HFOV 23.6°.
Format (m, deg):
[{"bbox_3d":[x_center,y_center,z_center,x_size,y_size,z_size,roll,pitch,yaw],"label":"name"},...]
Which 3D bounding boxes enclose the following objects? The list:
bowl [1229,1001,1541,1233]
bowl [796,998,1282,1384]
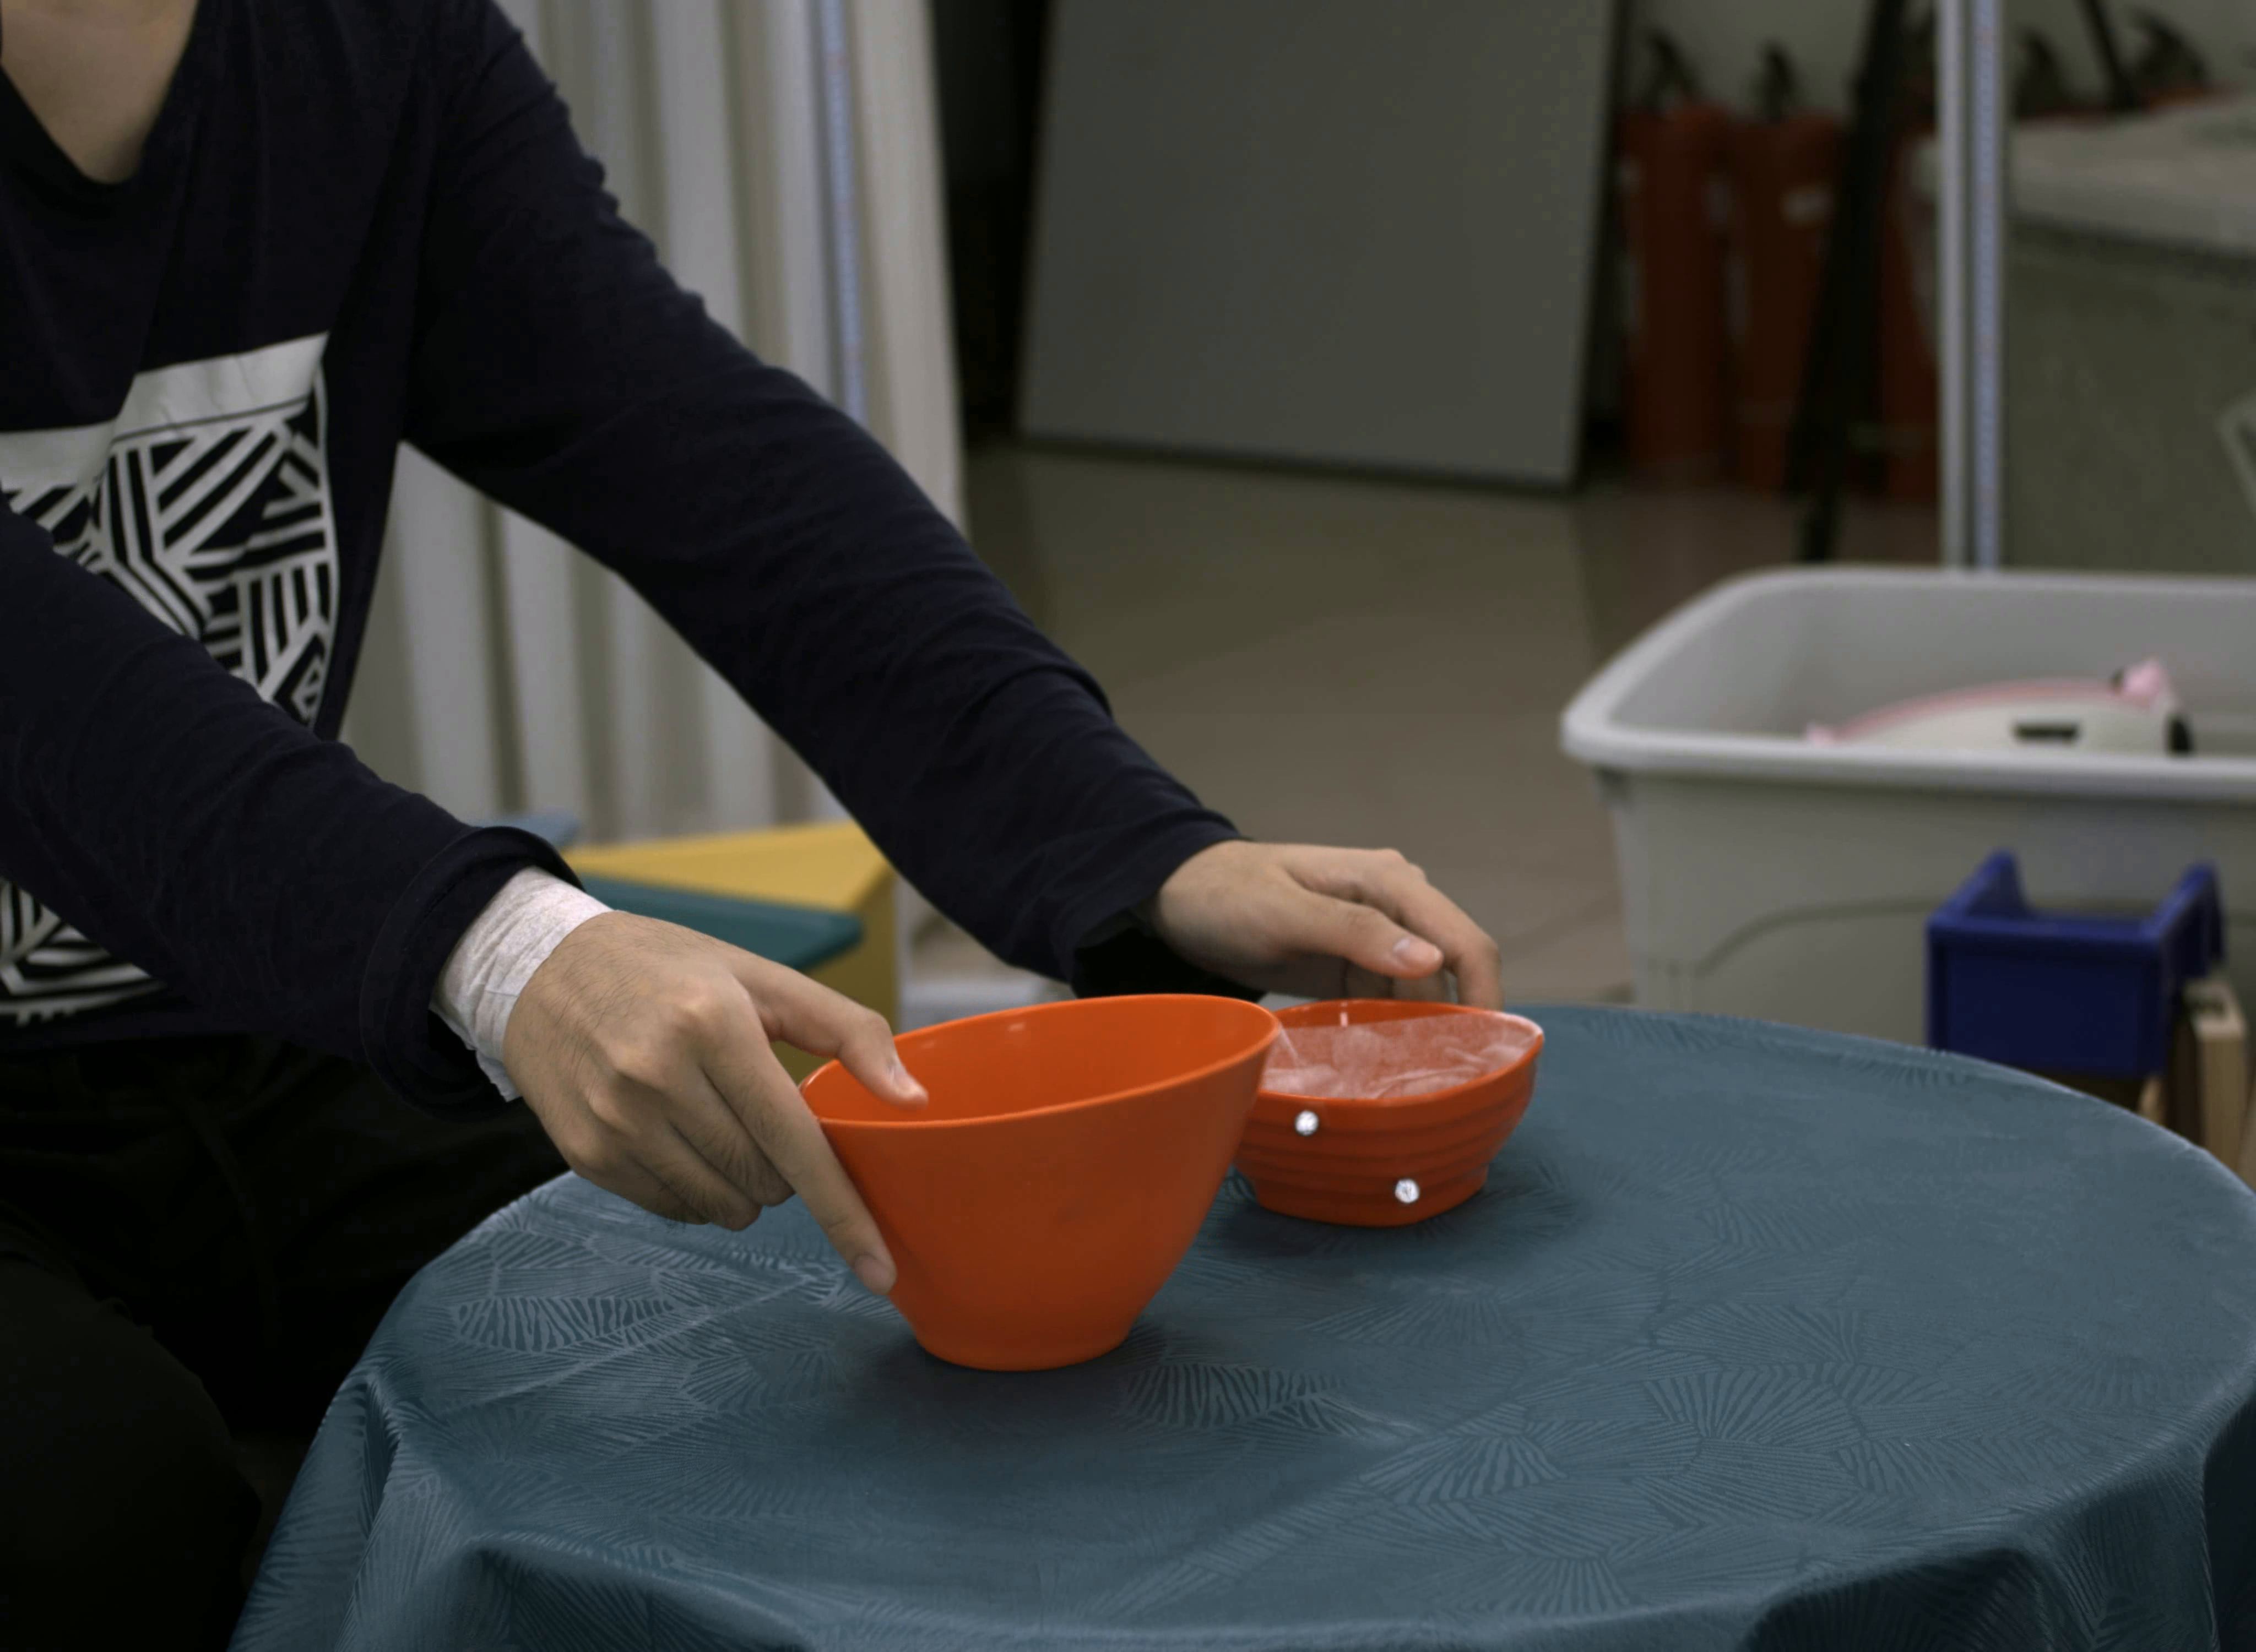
[{"bbox_3d":[0.078,0.096,1.750,0.117,0.052,0.119,-6,14,1],"label":"bowl"},{"bbox_3d":[-0.025,0.109,1.617,0.146,0.106,0.148,-3,17,0],"label":"bowl"}]
